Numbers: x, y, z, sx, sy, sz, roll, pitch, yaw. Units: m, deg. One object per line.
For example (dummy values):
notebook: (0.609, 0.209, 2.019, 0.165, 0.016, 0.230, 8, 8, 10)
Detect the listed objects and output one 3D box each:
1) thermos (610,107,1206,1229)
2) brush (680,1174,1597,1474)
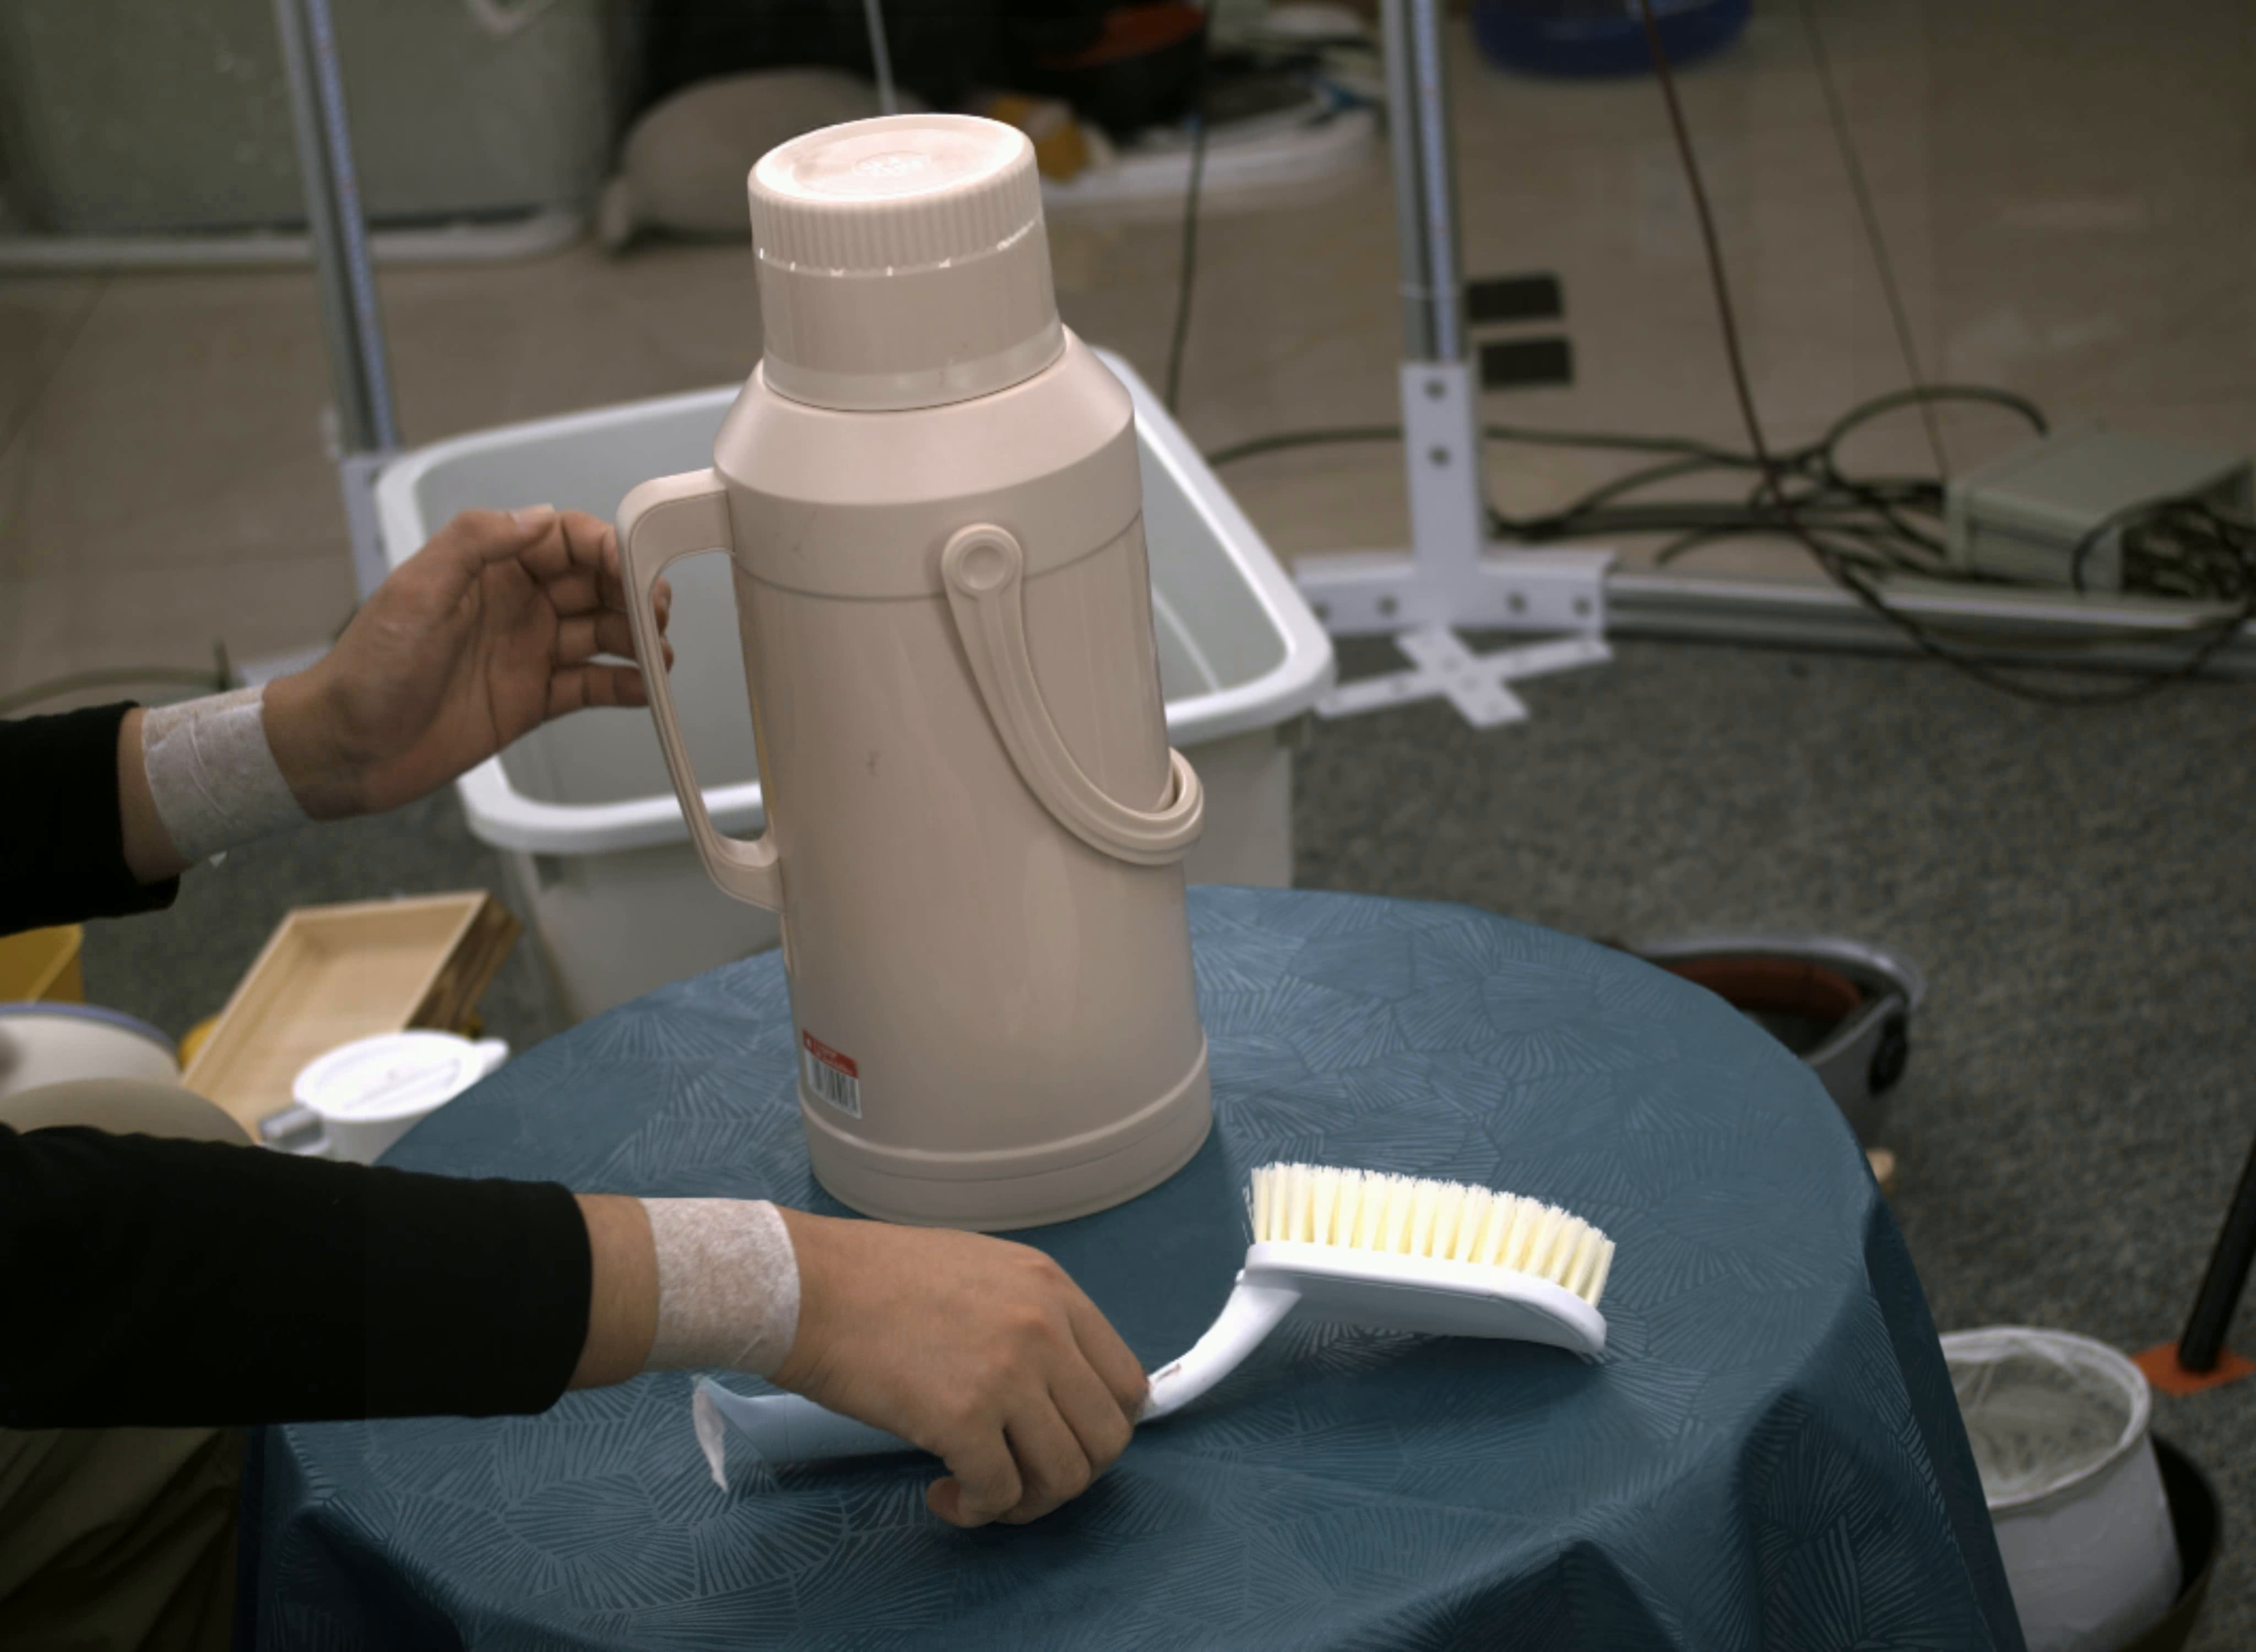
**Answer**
thermos: (-0.081, -0.058, 2.112, 0.206, 0.413, 0.173, -12, 28, -11)
brush: (0.002, 0.163, 1.997, 0.325, 0.084, 0.083, -5, 31, -1)
